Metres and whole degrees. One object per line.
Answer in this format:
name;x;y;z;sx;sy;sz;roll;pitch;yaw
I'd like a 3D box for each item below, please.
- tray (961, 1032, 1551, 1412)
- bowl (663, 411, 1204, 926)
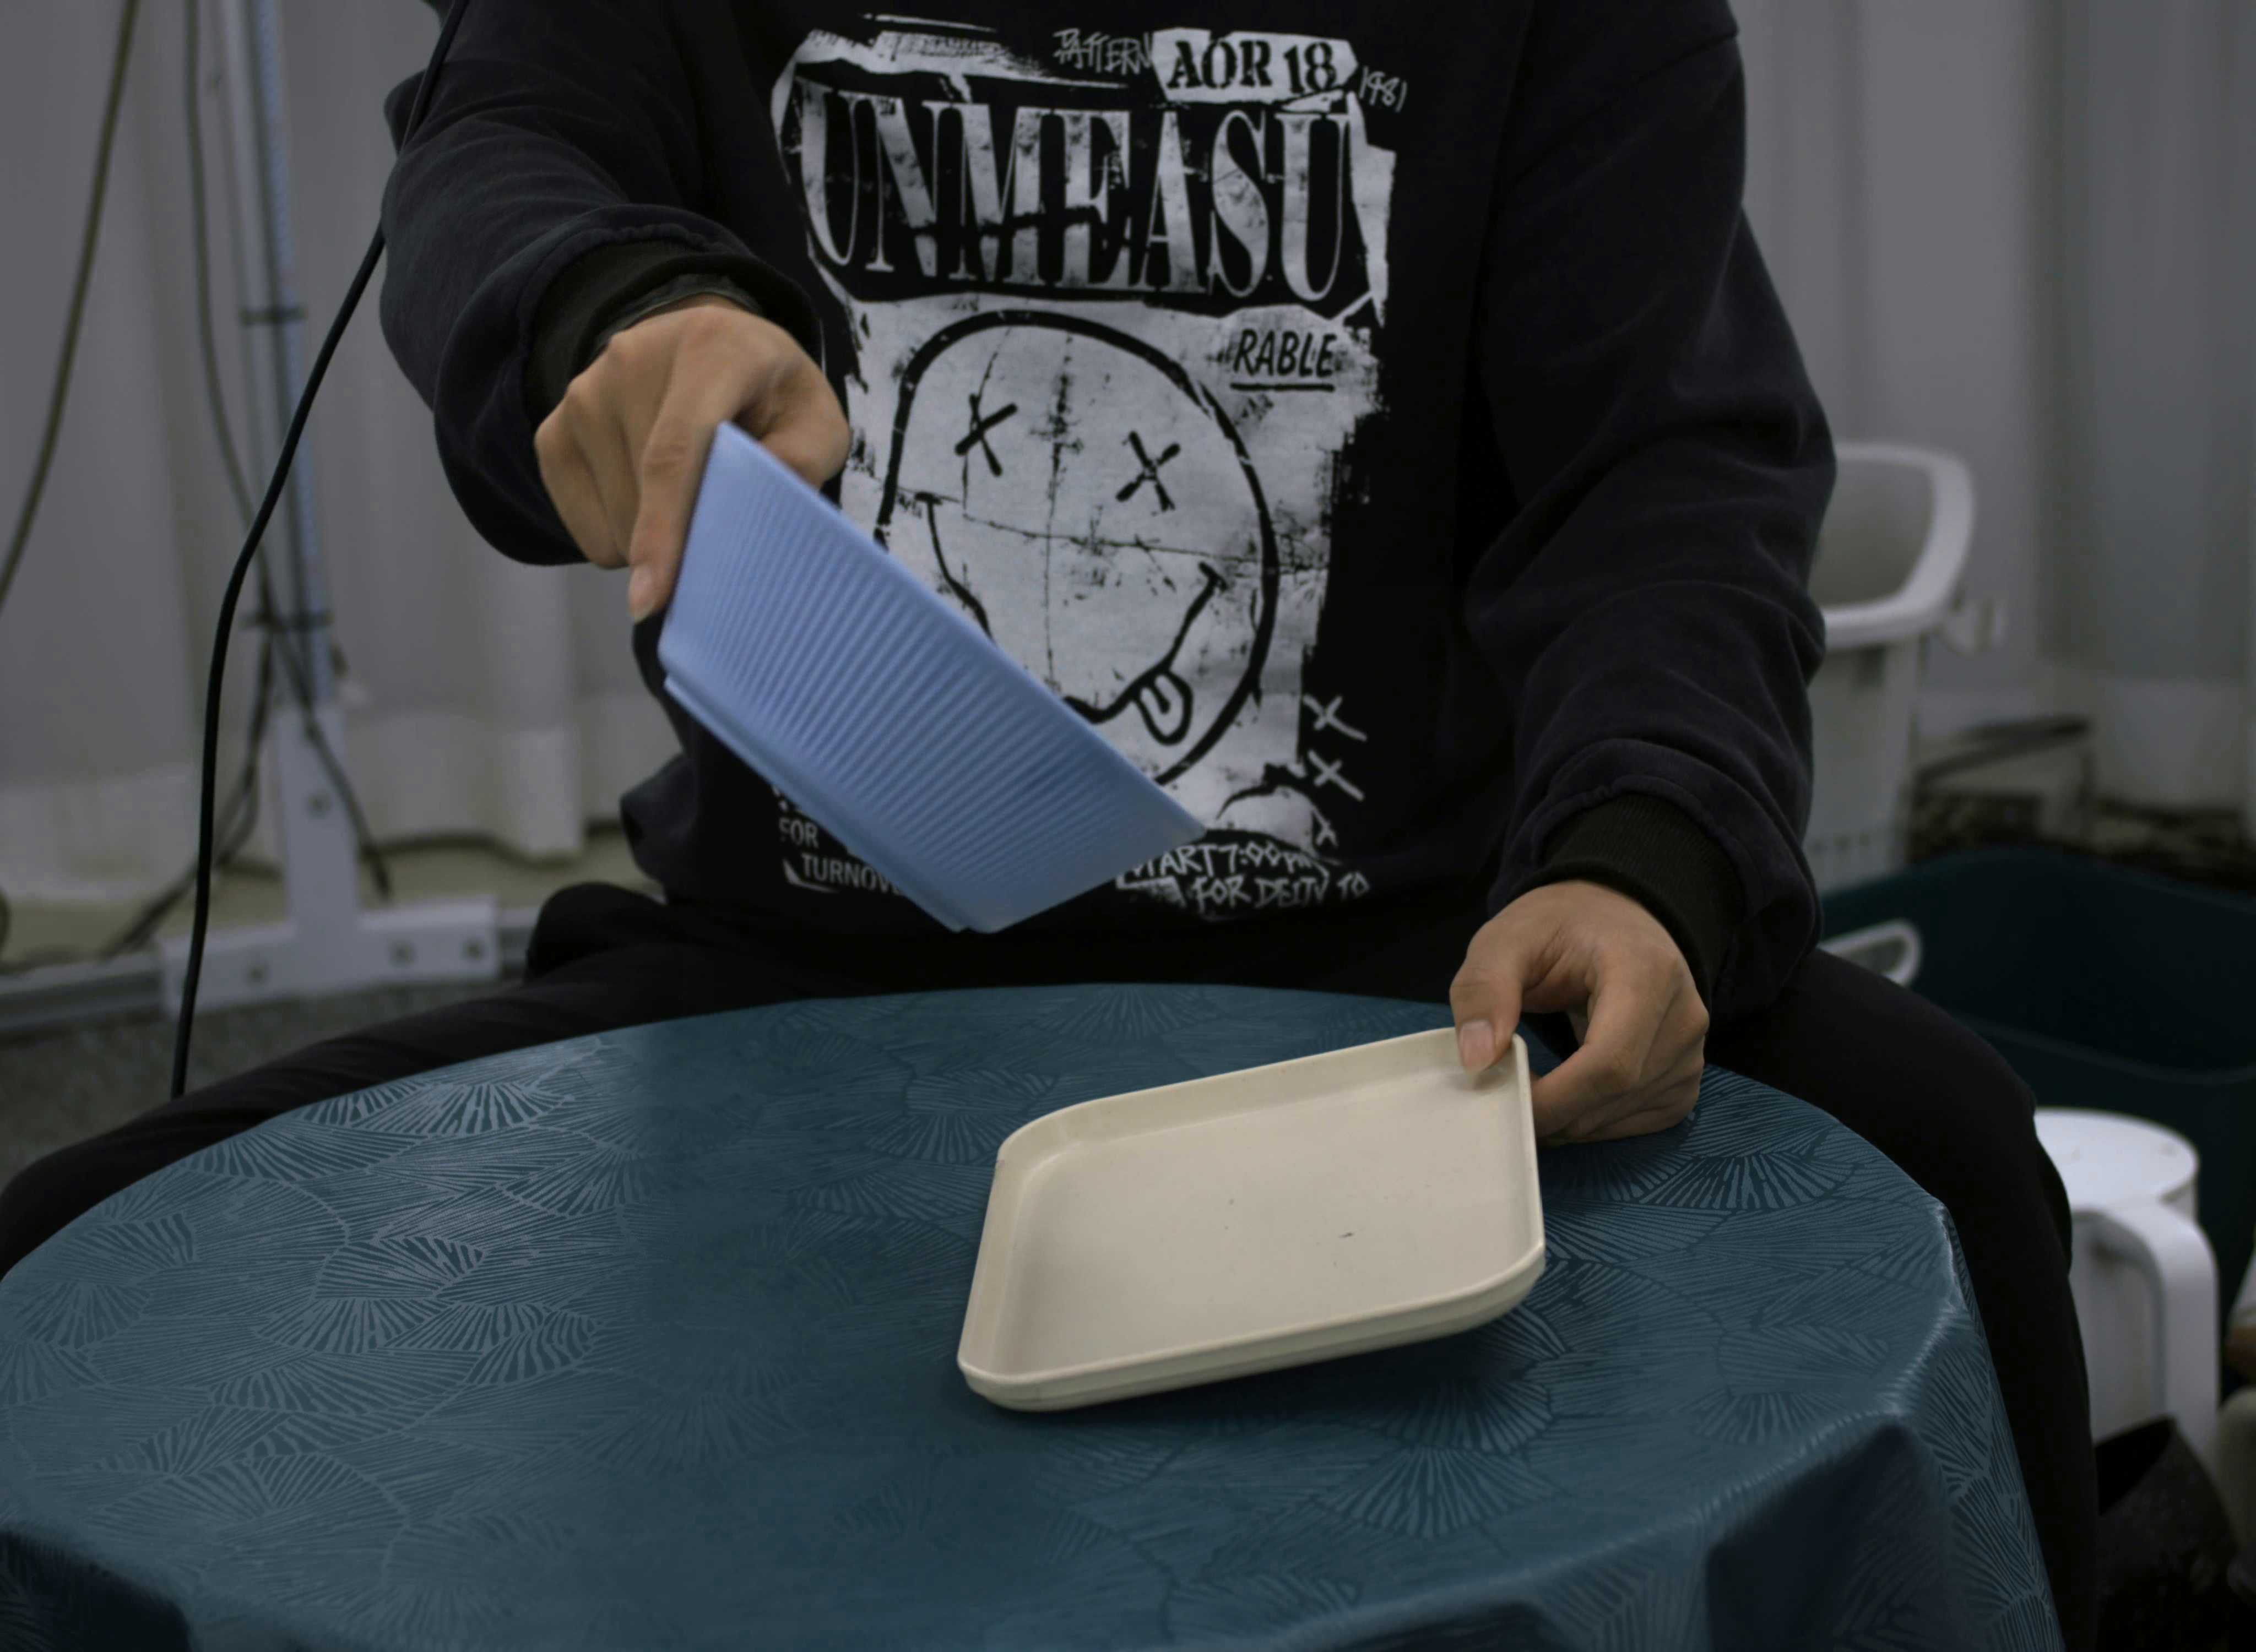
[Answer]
tray;0.040;0.116;1.621;0.171;0.017;0.241;-11;15;5
bowl;-0.065;-0.034;1.520;0.070;0.174;0.177;-48;22;-2
